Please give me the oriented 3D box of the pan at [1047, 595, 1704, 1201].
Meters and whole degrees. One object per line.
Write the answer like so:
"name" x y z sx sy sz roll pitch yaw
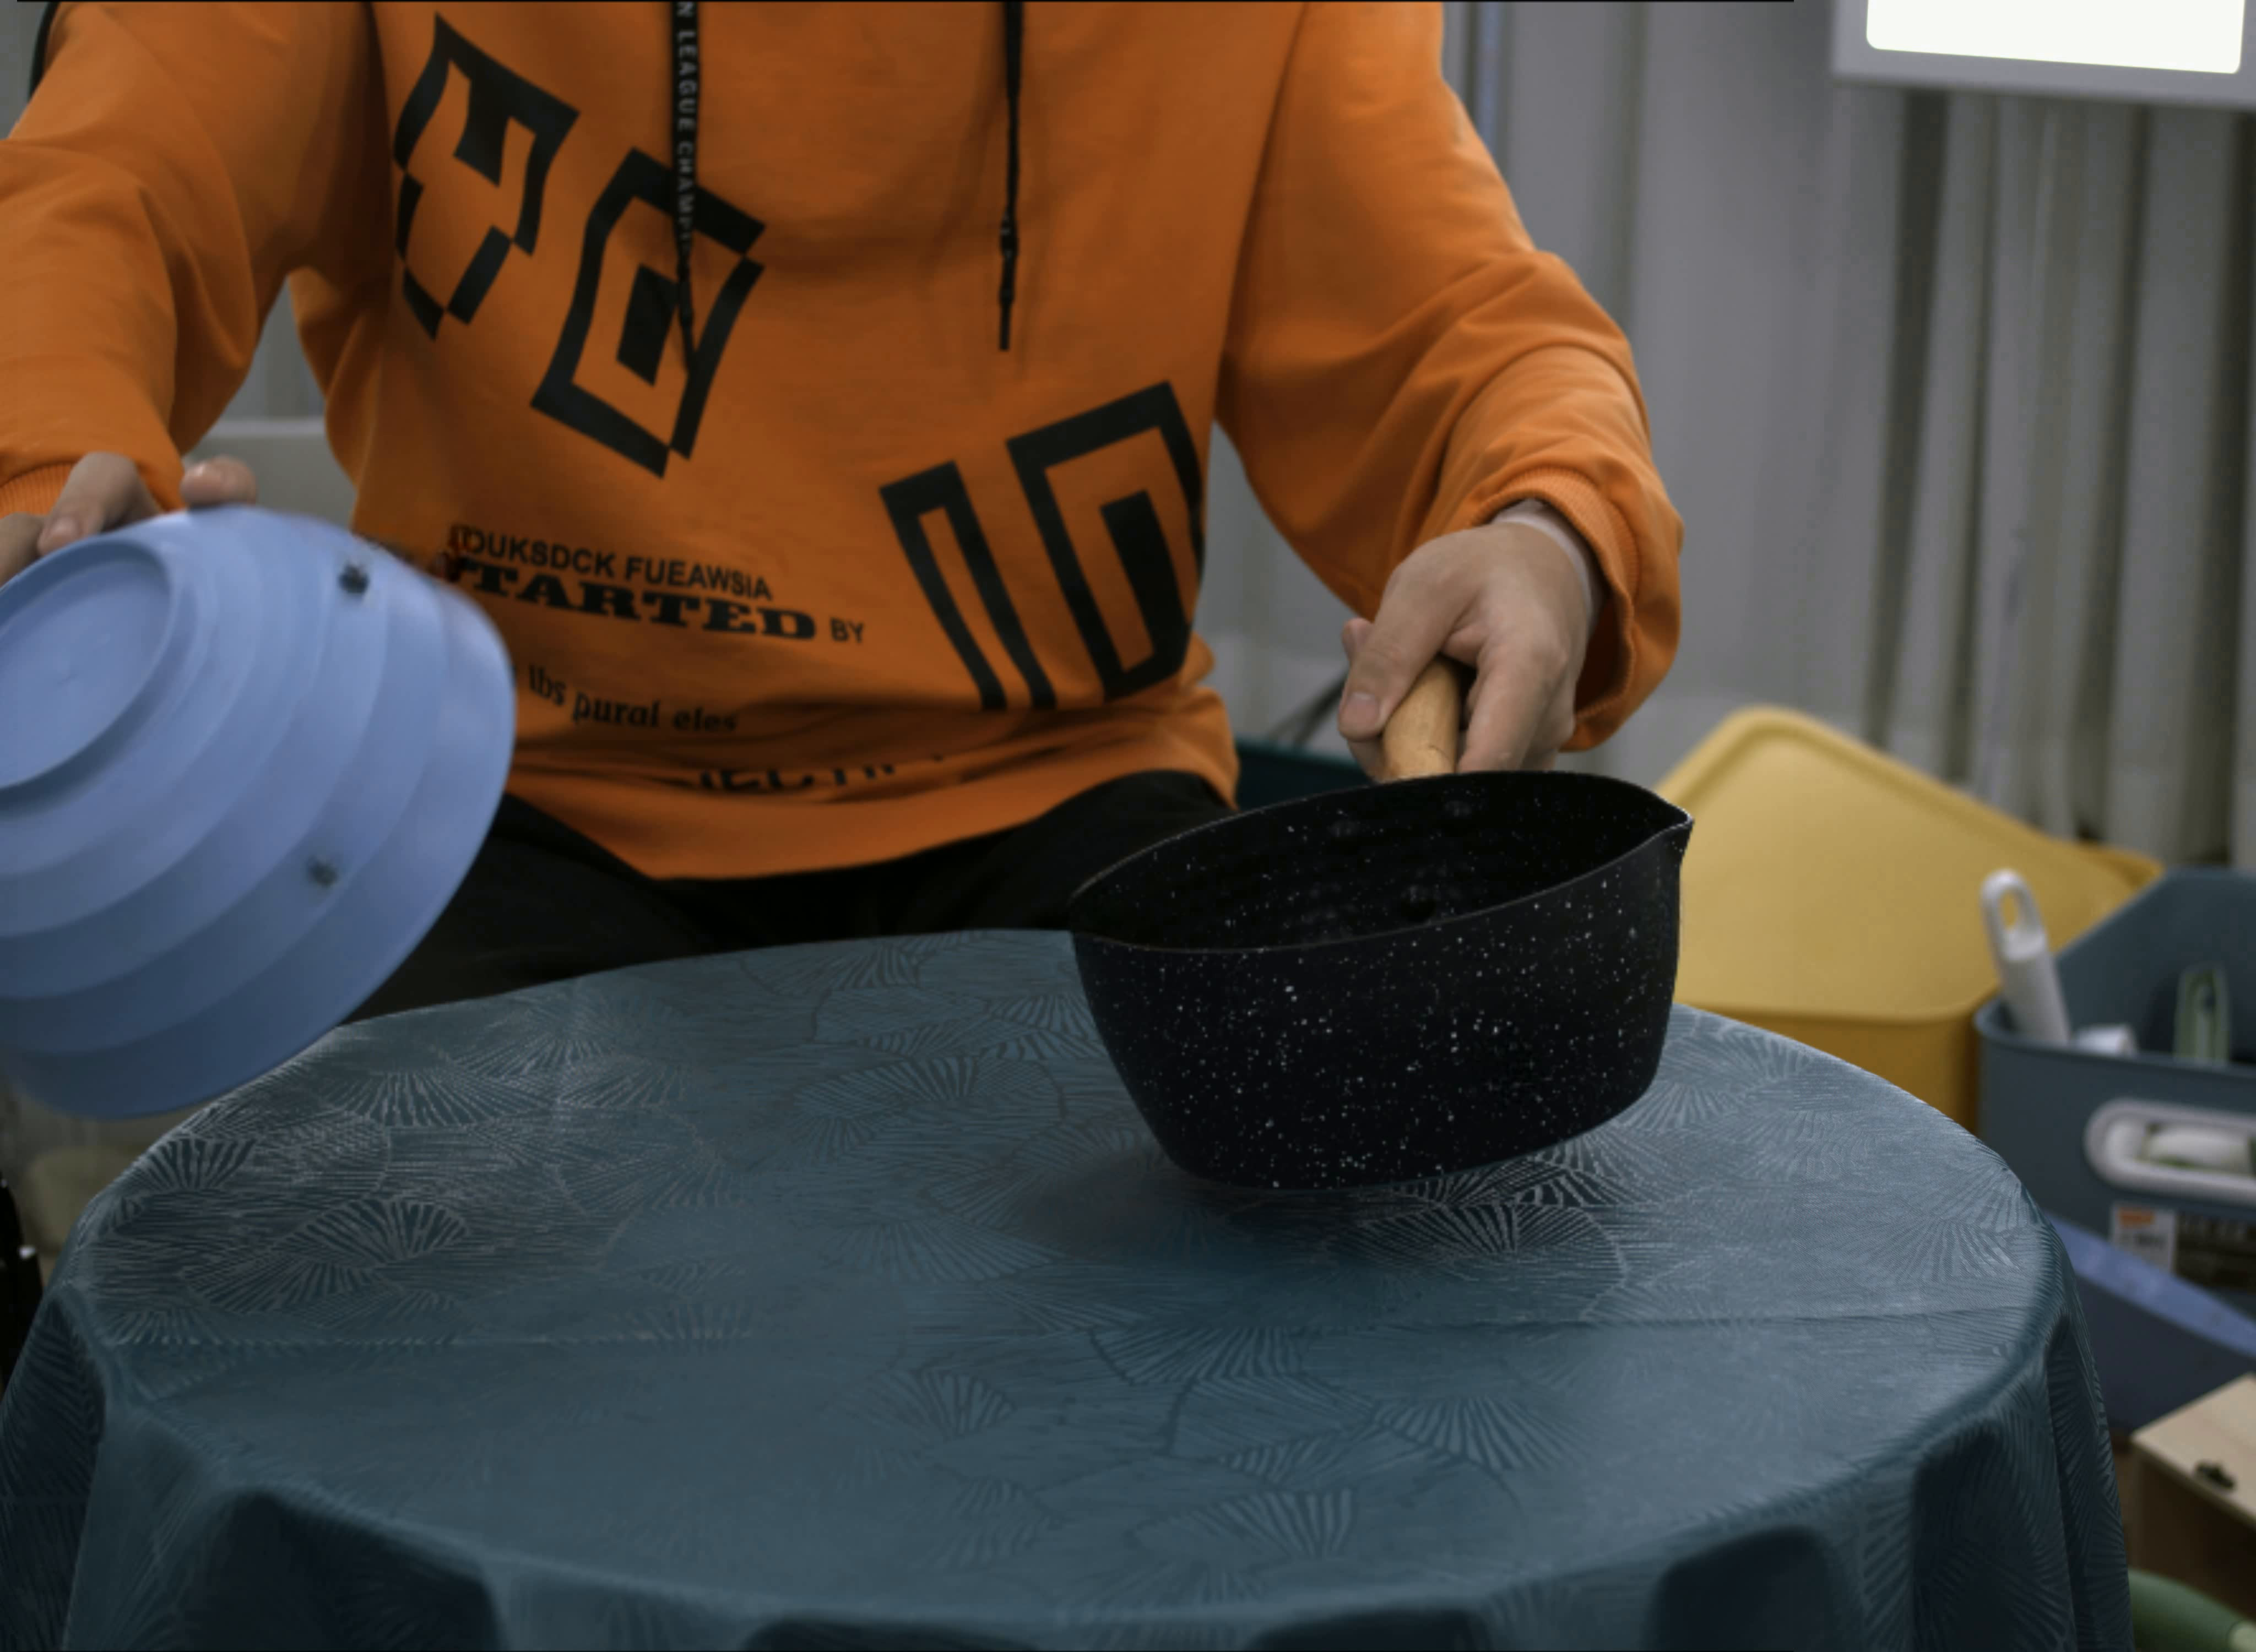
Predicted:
"pan" 0.089 0.017 1.683 0.206 0.109 0.341 -9 15 10

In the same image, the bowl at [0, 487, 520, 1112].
"bowl" -0.283 -0.025 1.527 0.194 0.196 0.097 17 -21 44
